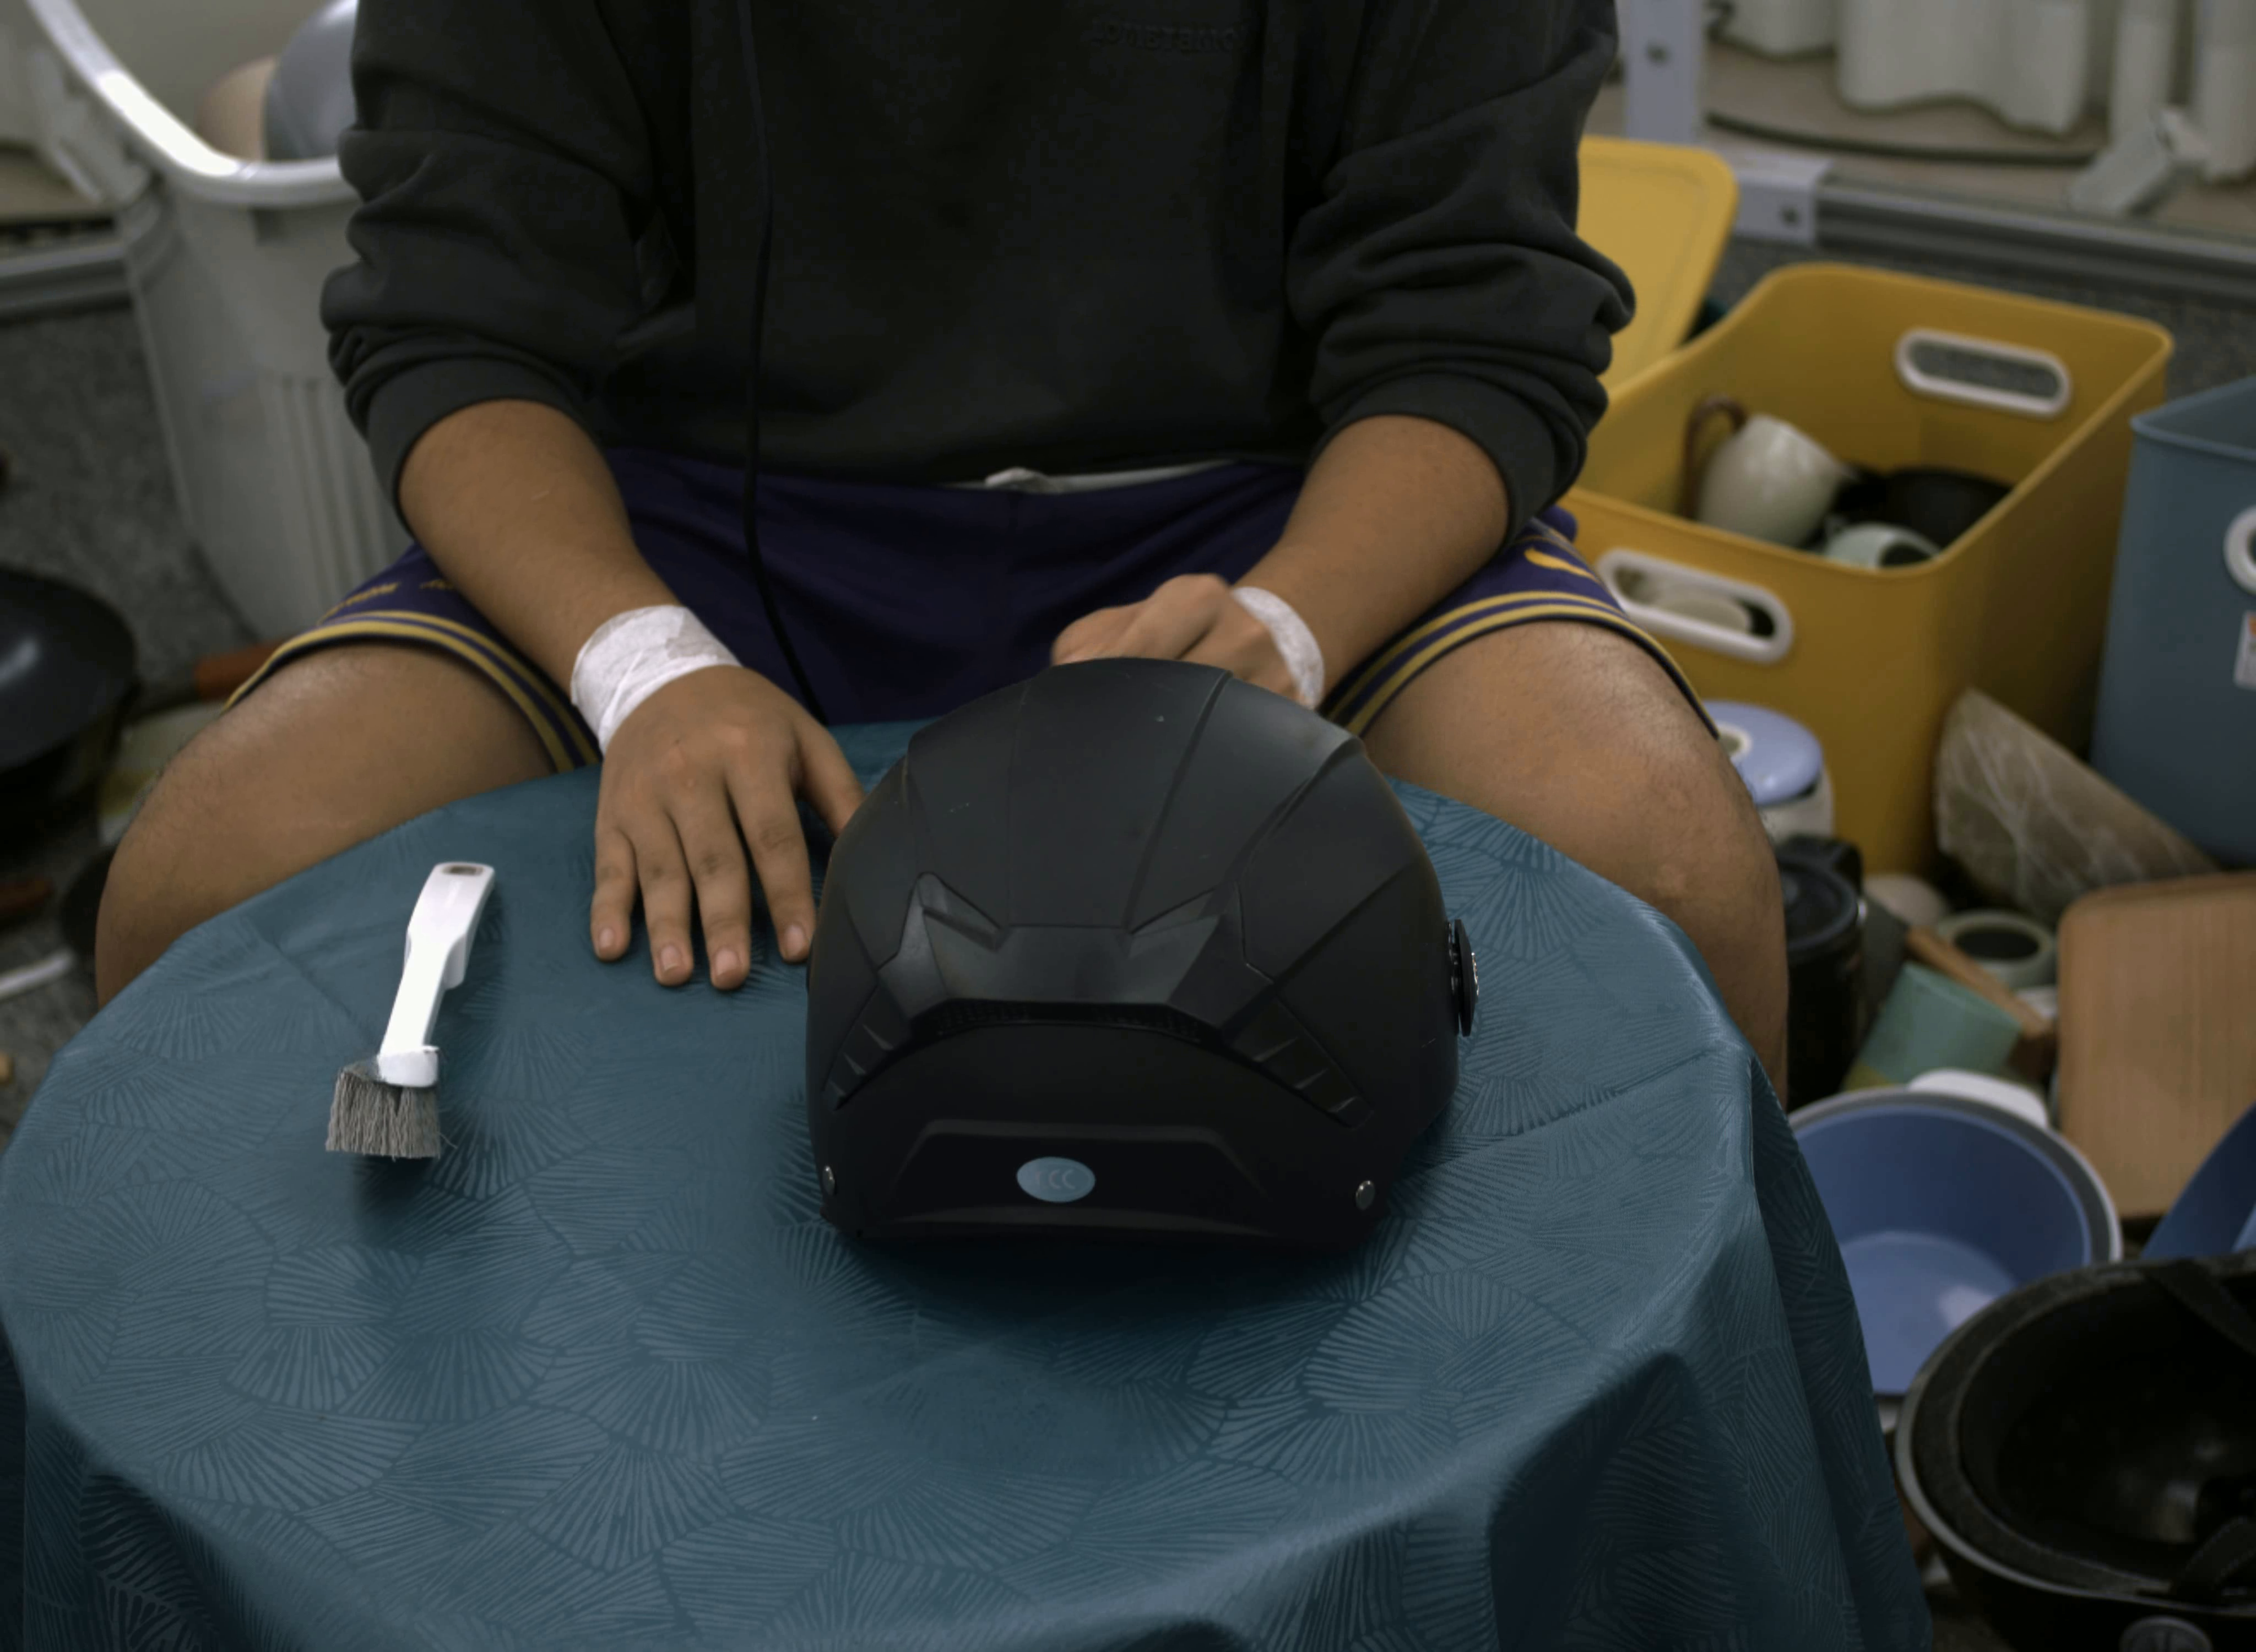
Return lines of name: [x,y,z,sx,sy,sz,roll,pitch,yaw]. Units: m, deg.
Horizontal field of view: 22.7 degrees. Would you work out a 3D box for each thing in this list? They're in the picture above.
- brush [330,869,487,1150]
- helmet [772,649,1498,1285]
brush: [-0.249,0.068,1.967,0.034,0.050,0.245,4,14,-1]
helmet: [0.002,0.030,1.867,0.245,0.170,0.281,2,29,10]
